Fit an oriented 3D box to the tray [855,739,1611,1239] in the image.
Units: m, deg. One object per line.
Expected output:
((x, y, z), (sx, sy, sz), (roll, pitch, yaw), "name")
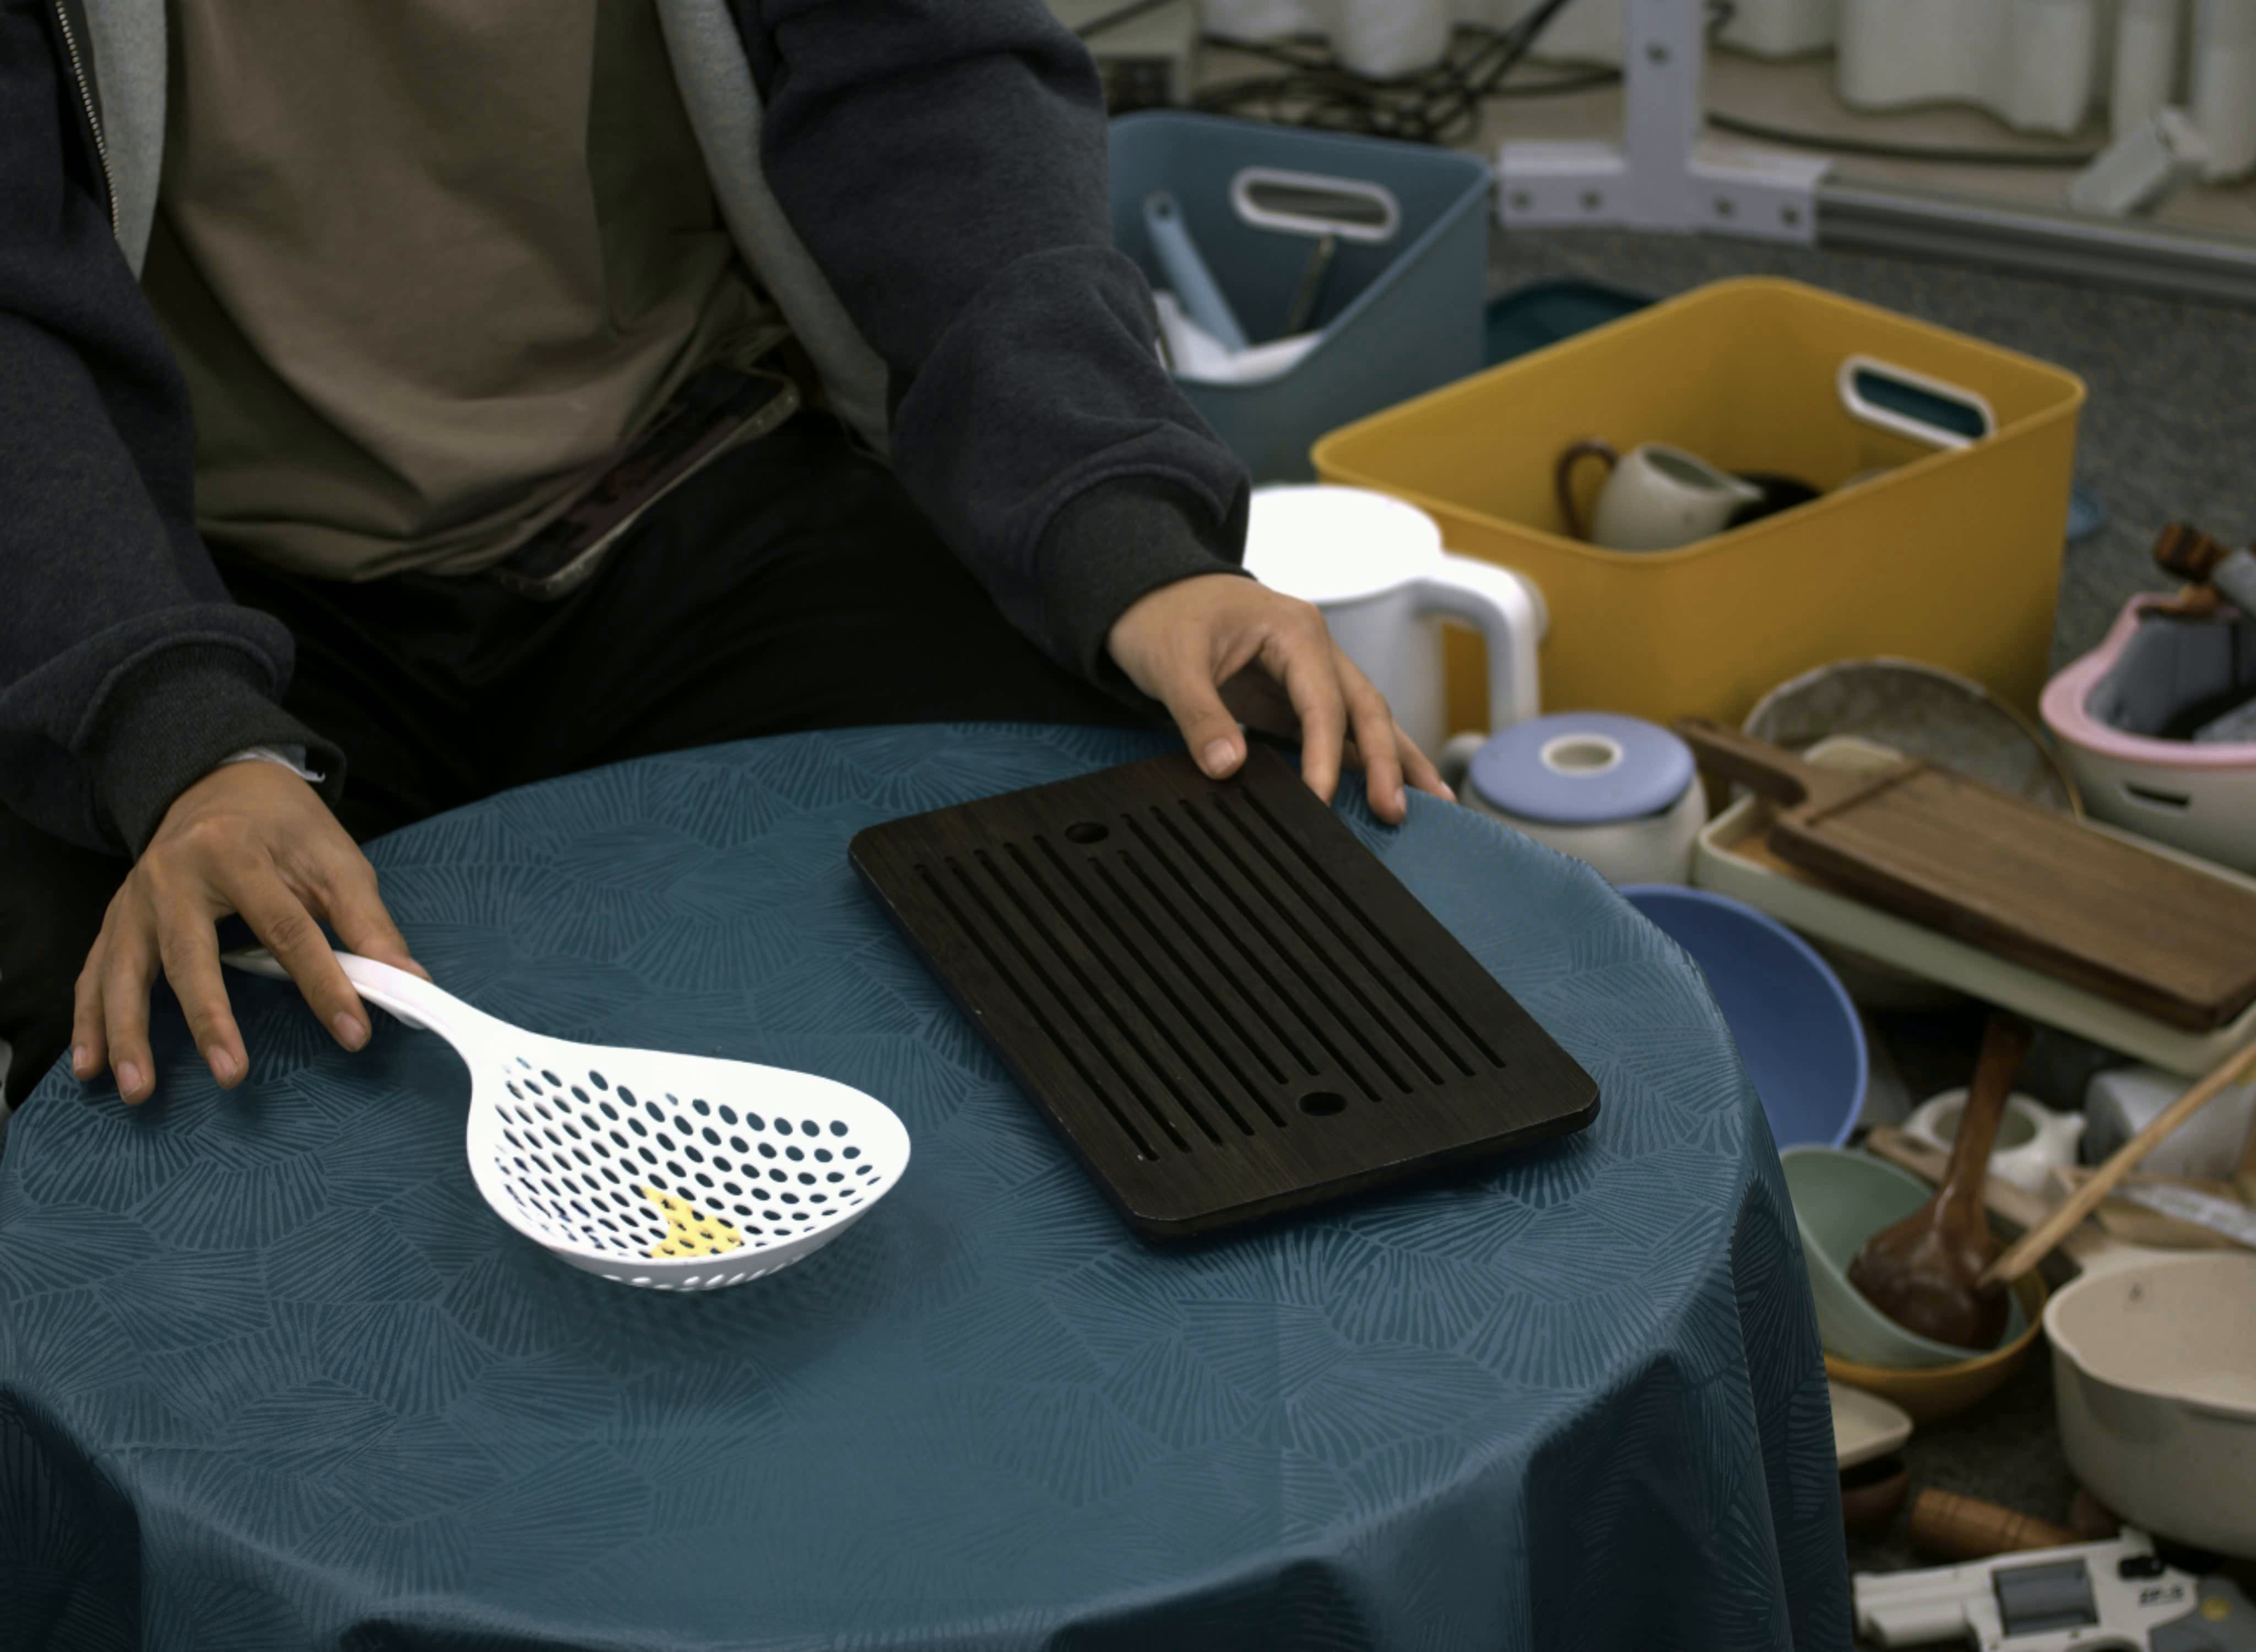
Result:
((0.031, 0.054, 1.969), (0.170, 0.018, 0.308), (-13, 29, -18), "tray")

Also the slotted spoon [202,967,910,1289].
((-0.211, 0.088, 1.903), (0.138, 0.050, 0.348), (-24, 34, -35), "slotted spoon")
